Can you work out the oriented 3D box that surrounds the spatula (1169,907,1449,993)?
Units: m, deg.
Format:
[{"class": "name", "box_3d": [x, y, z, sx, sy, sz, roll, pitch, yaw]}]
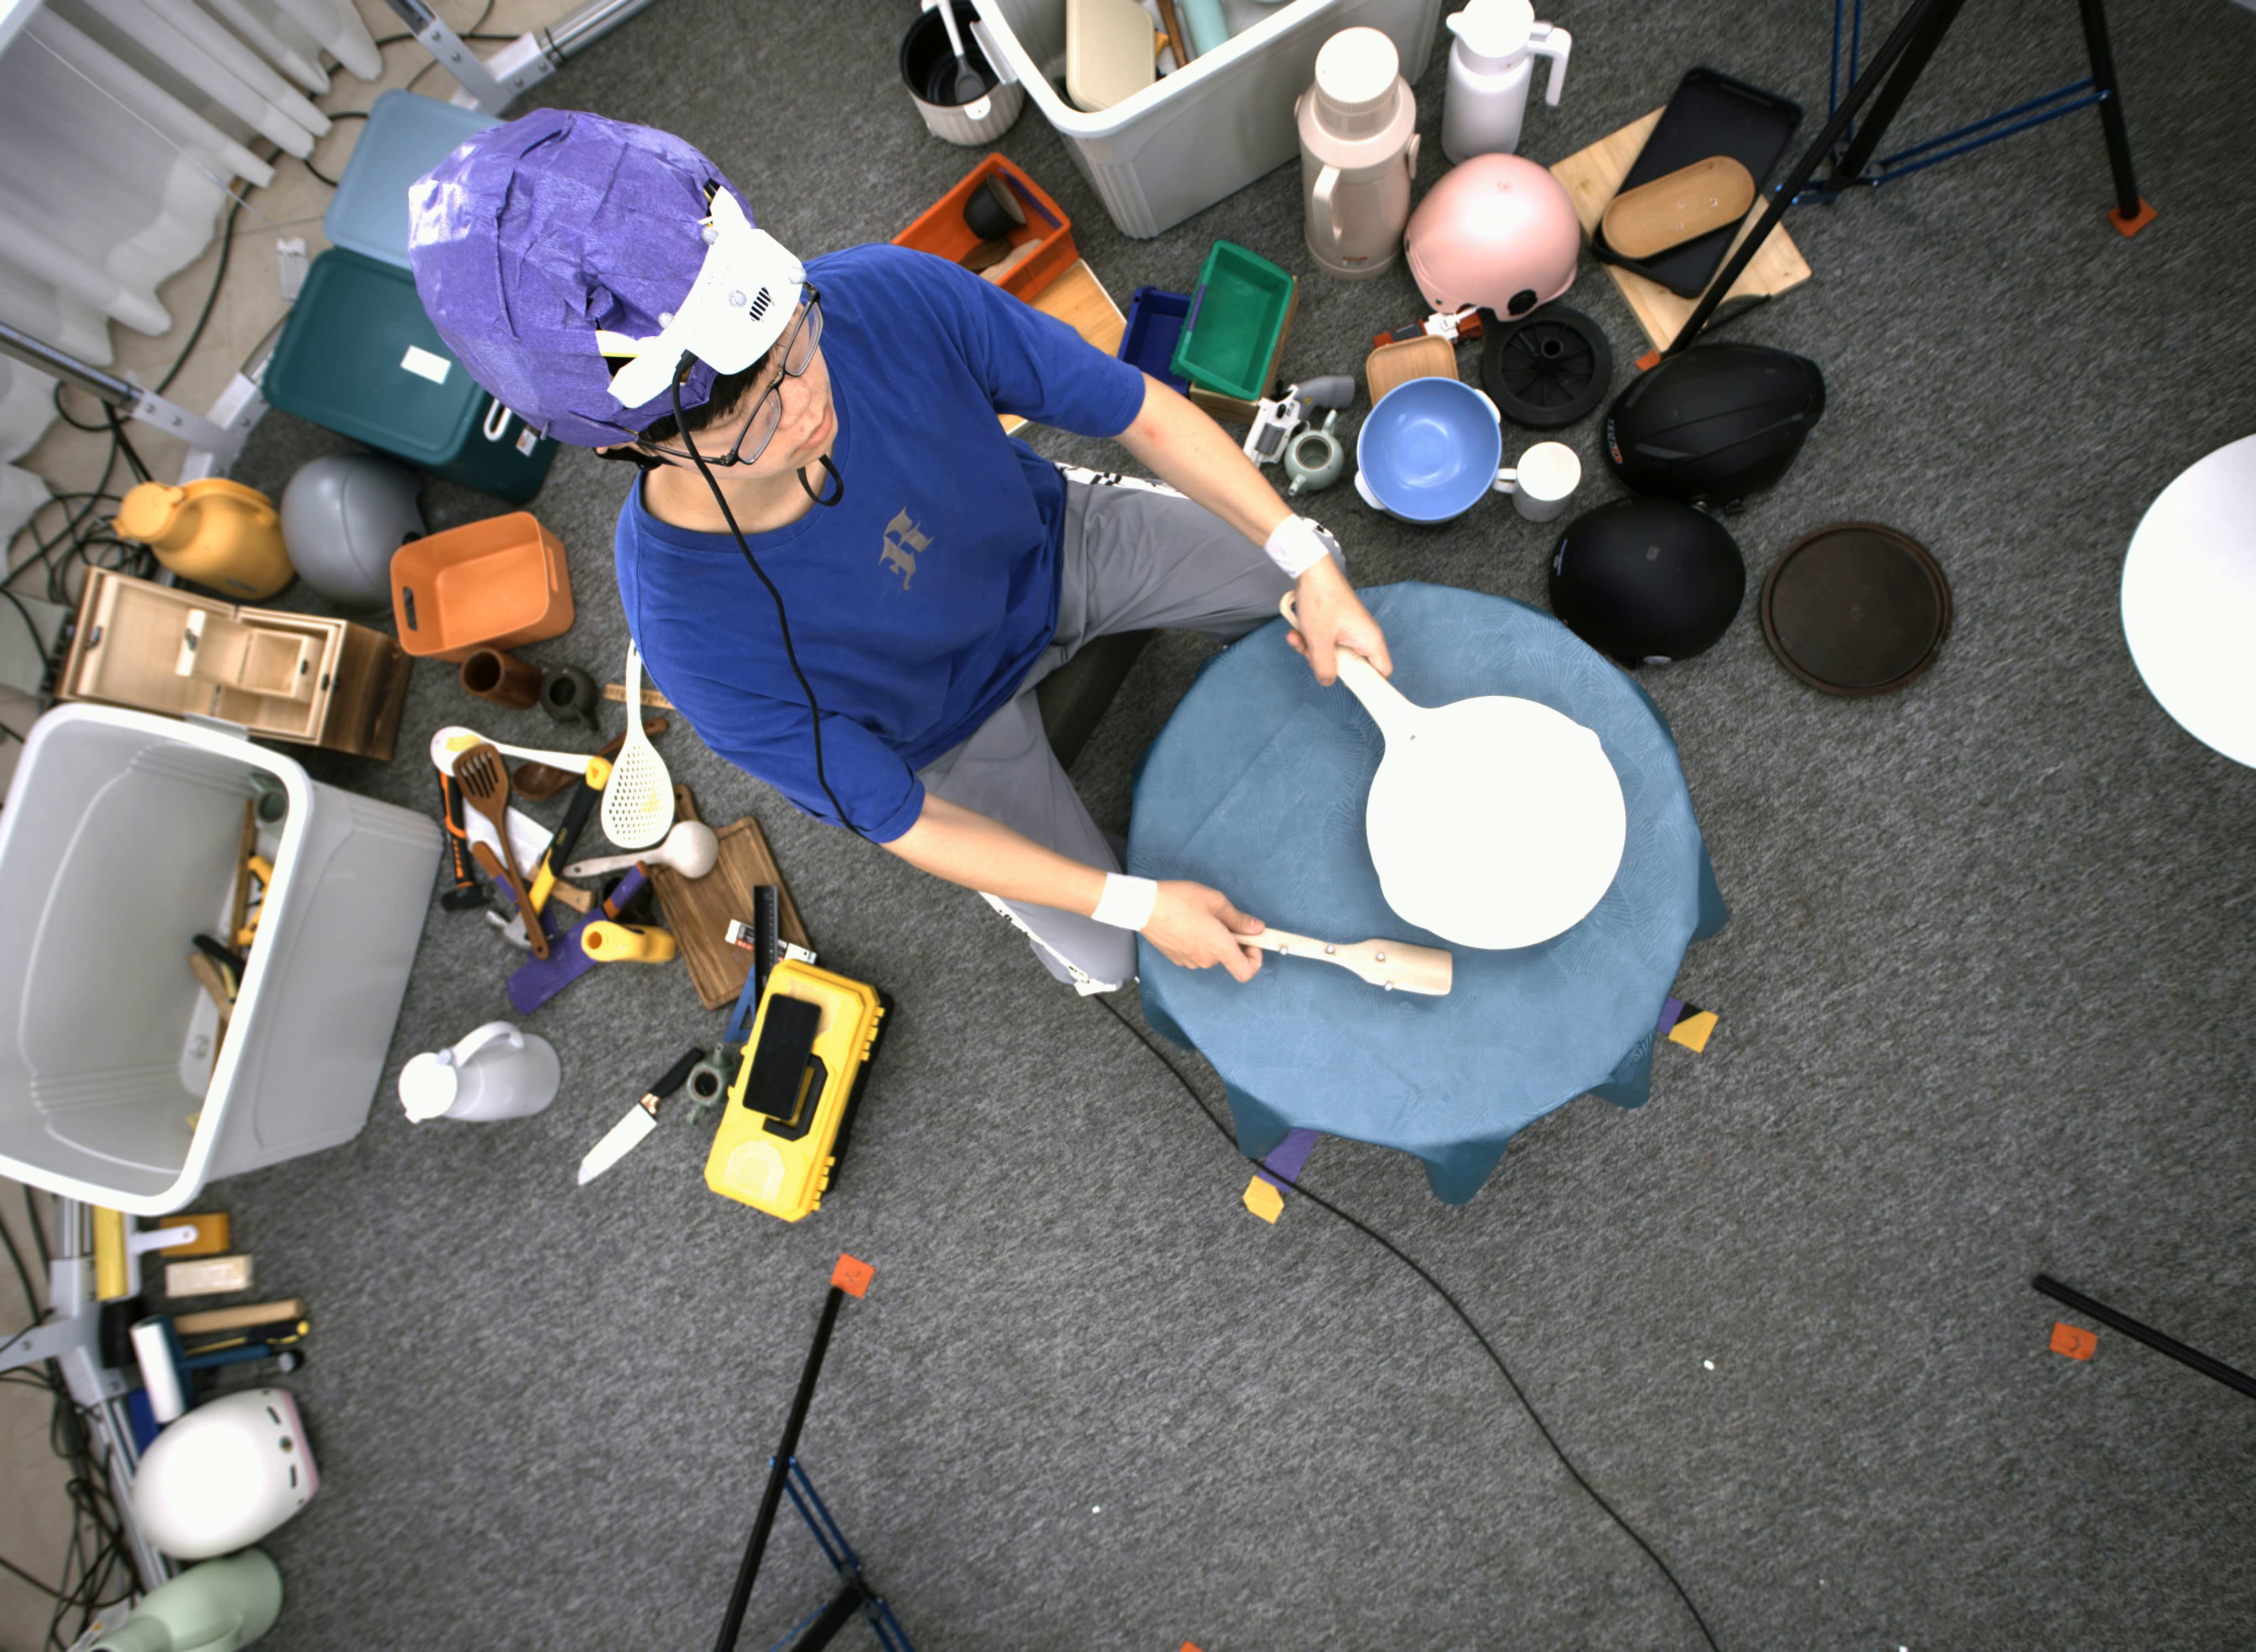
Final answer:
[{"class": "spatula", "box_3d": [0.186, 0.122, 1.434, 0.293, 0.070, 0.011, 11, 126, 7]}]

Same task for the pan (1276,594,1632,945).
[{"class": "pan", "box_3d": [0.313, -0.074, 1.402, 0.265, 0.102, 0.433, -44, 82, 7]}]
